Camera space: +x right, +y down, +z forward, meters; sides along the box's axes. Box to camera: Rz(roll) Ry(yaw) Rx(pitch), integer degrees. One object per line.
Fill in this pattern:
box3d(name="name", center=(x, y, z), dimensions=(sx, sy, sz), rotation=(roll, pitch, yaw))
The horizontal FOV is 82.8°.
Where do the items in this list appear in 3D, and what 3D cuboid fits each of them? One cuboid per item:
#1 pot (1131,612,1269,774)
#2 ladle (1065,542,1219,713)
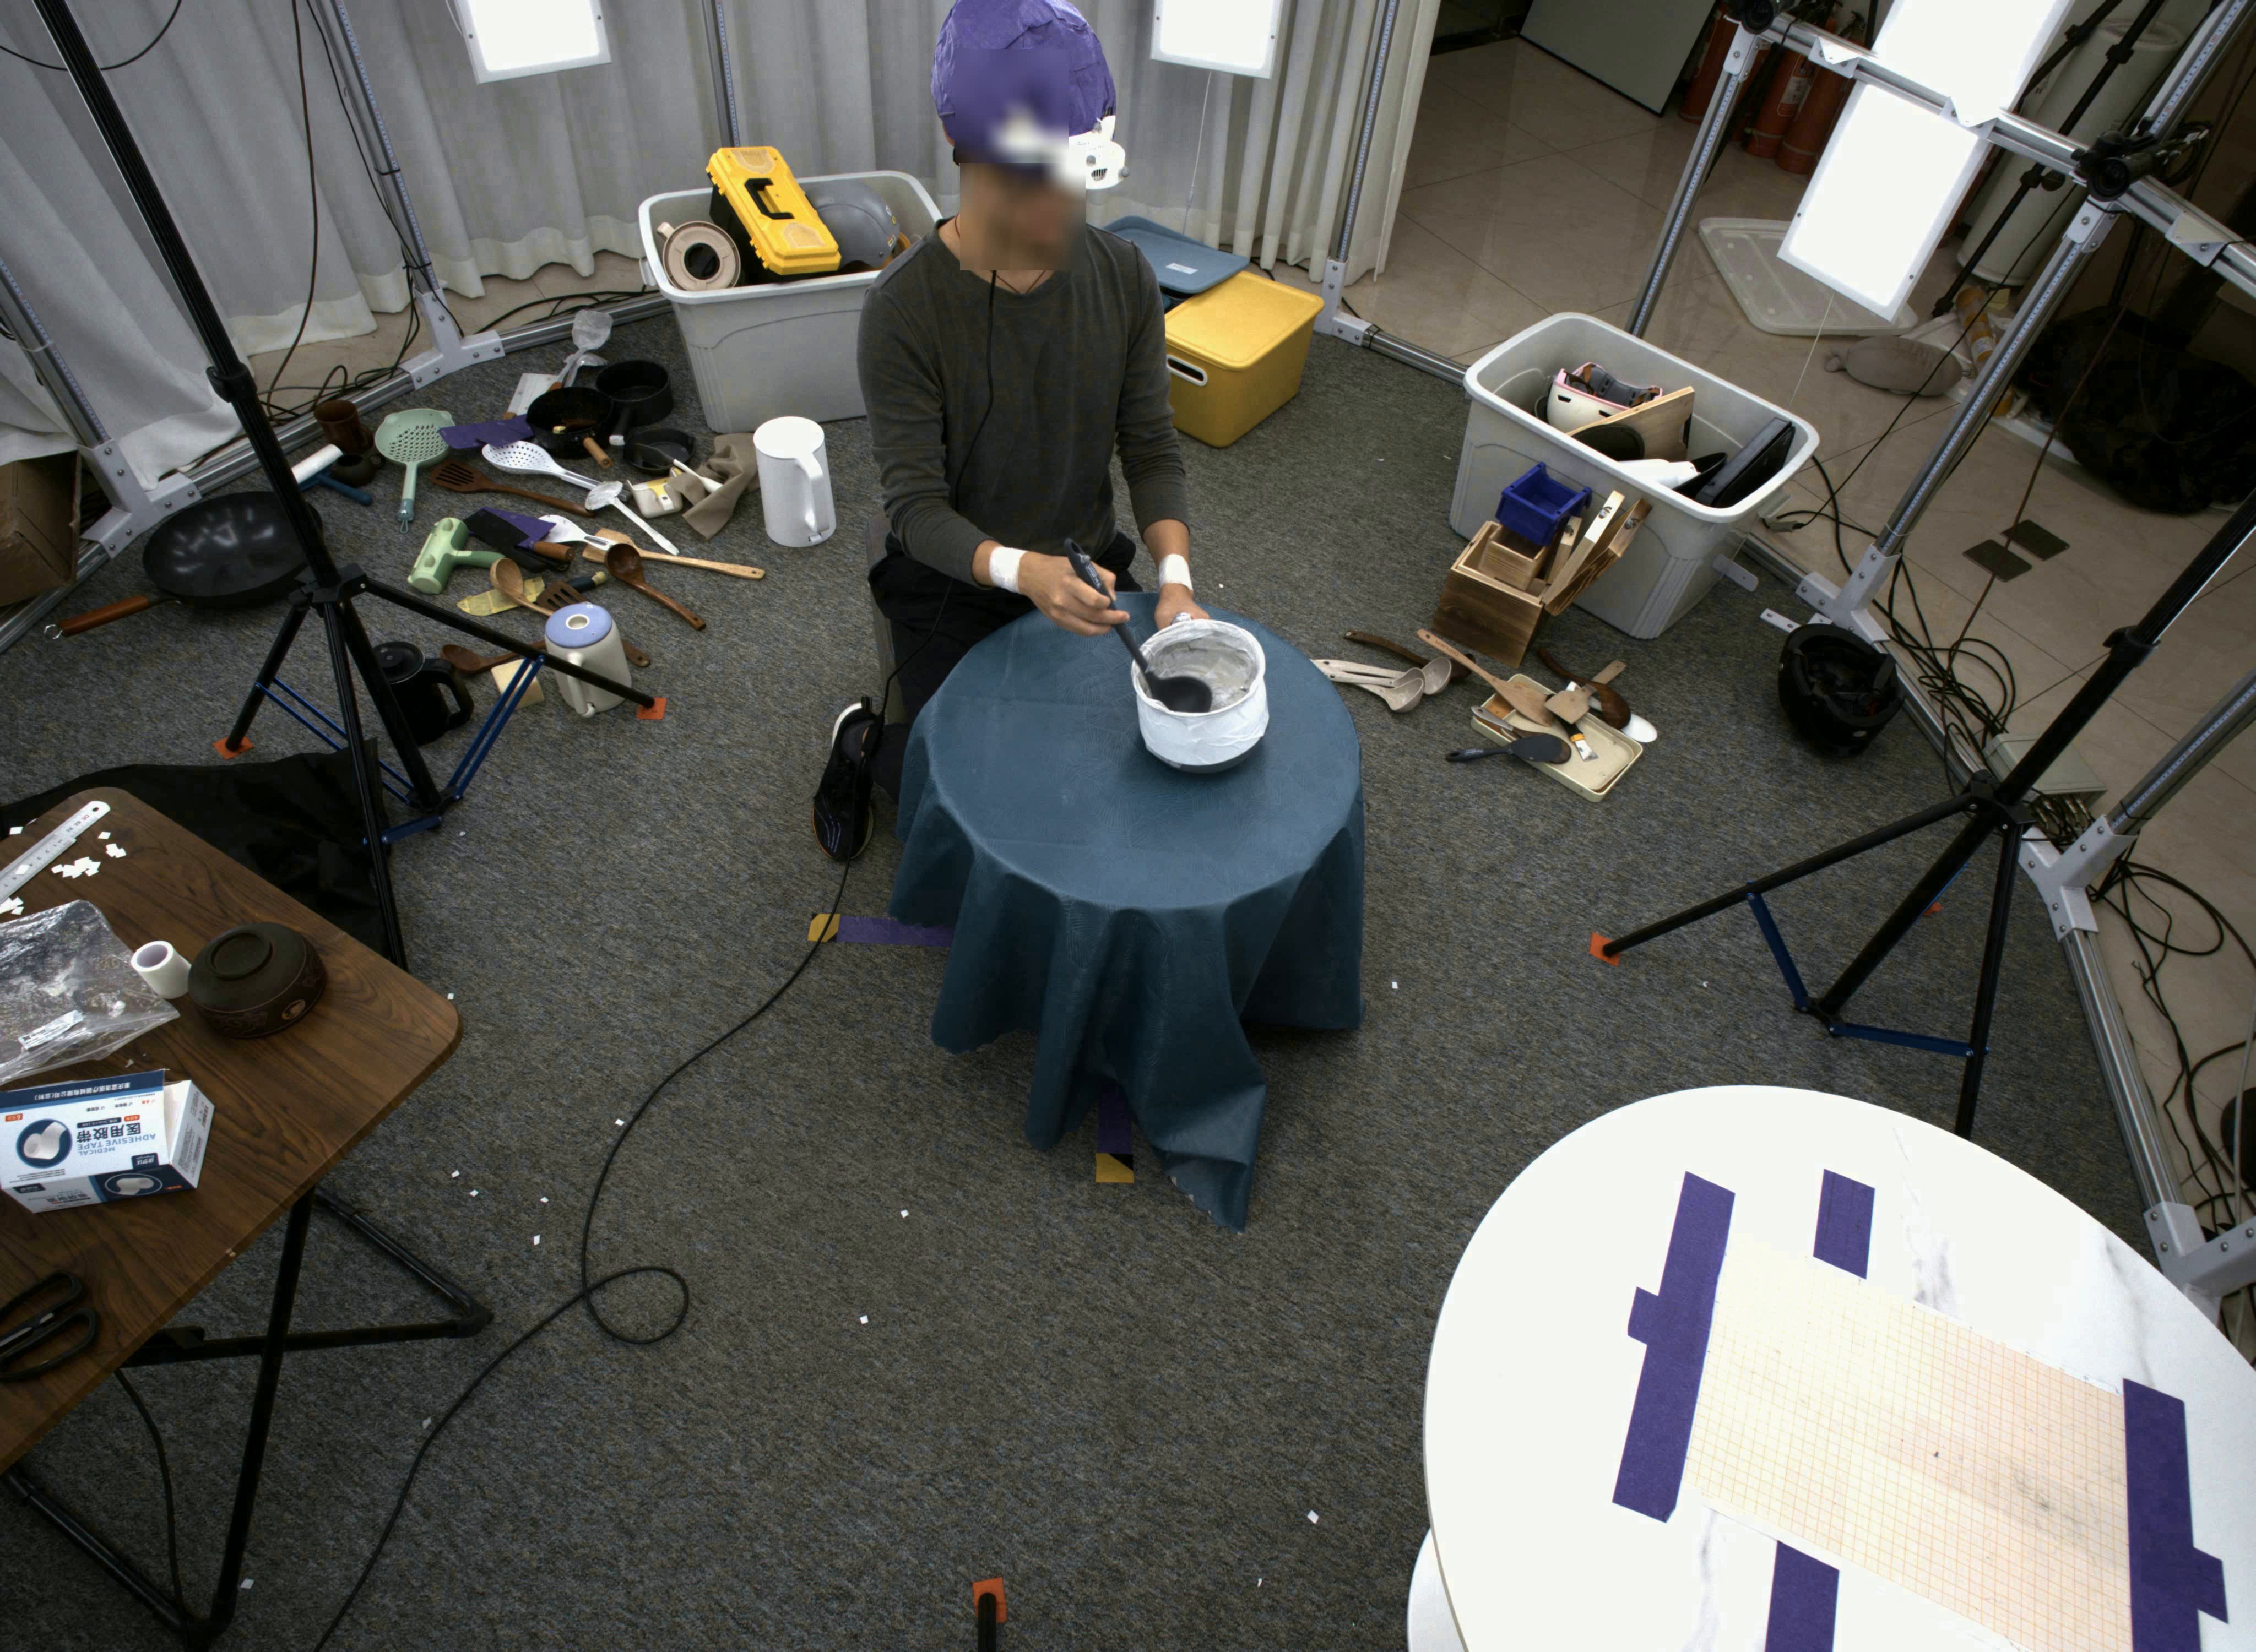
box3d(name="pot", center=(0.094, -0.191, 1.739), dimensions=(0.178, 0.133, 0.239), rotation=(-13, 50, -1))
box3d(name="ladle", center=(0.020, -0.246, 1.633), dimensions=(0.064, 0.307, 0.088), rotation=(-8, 46, 33))
